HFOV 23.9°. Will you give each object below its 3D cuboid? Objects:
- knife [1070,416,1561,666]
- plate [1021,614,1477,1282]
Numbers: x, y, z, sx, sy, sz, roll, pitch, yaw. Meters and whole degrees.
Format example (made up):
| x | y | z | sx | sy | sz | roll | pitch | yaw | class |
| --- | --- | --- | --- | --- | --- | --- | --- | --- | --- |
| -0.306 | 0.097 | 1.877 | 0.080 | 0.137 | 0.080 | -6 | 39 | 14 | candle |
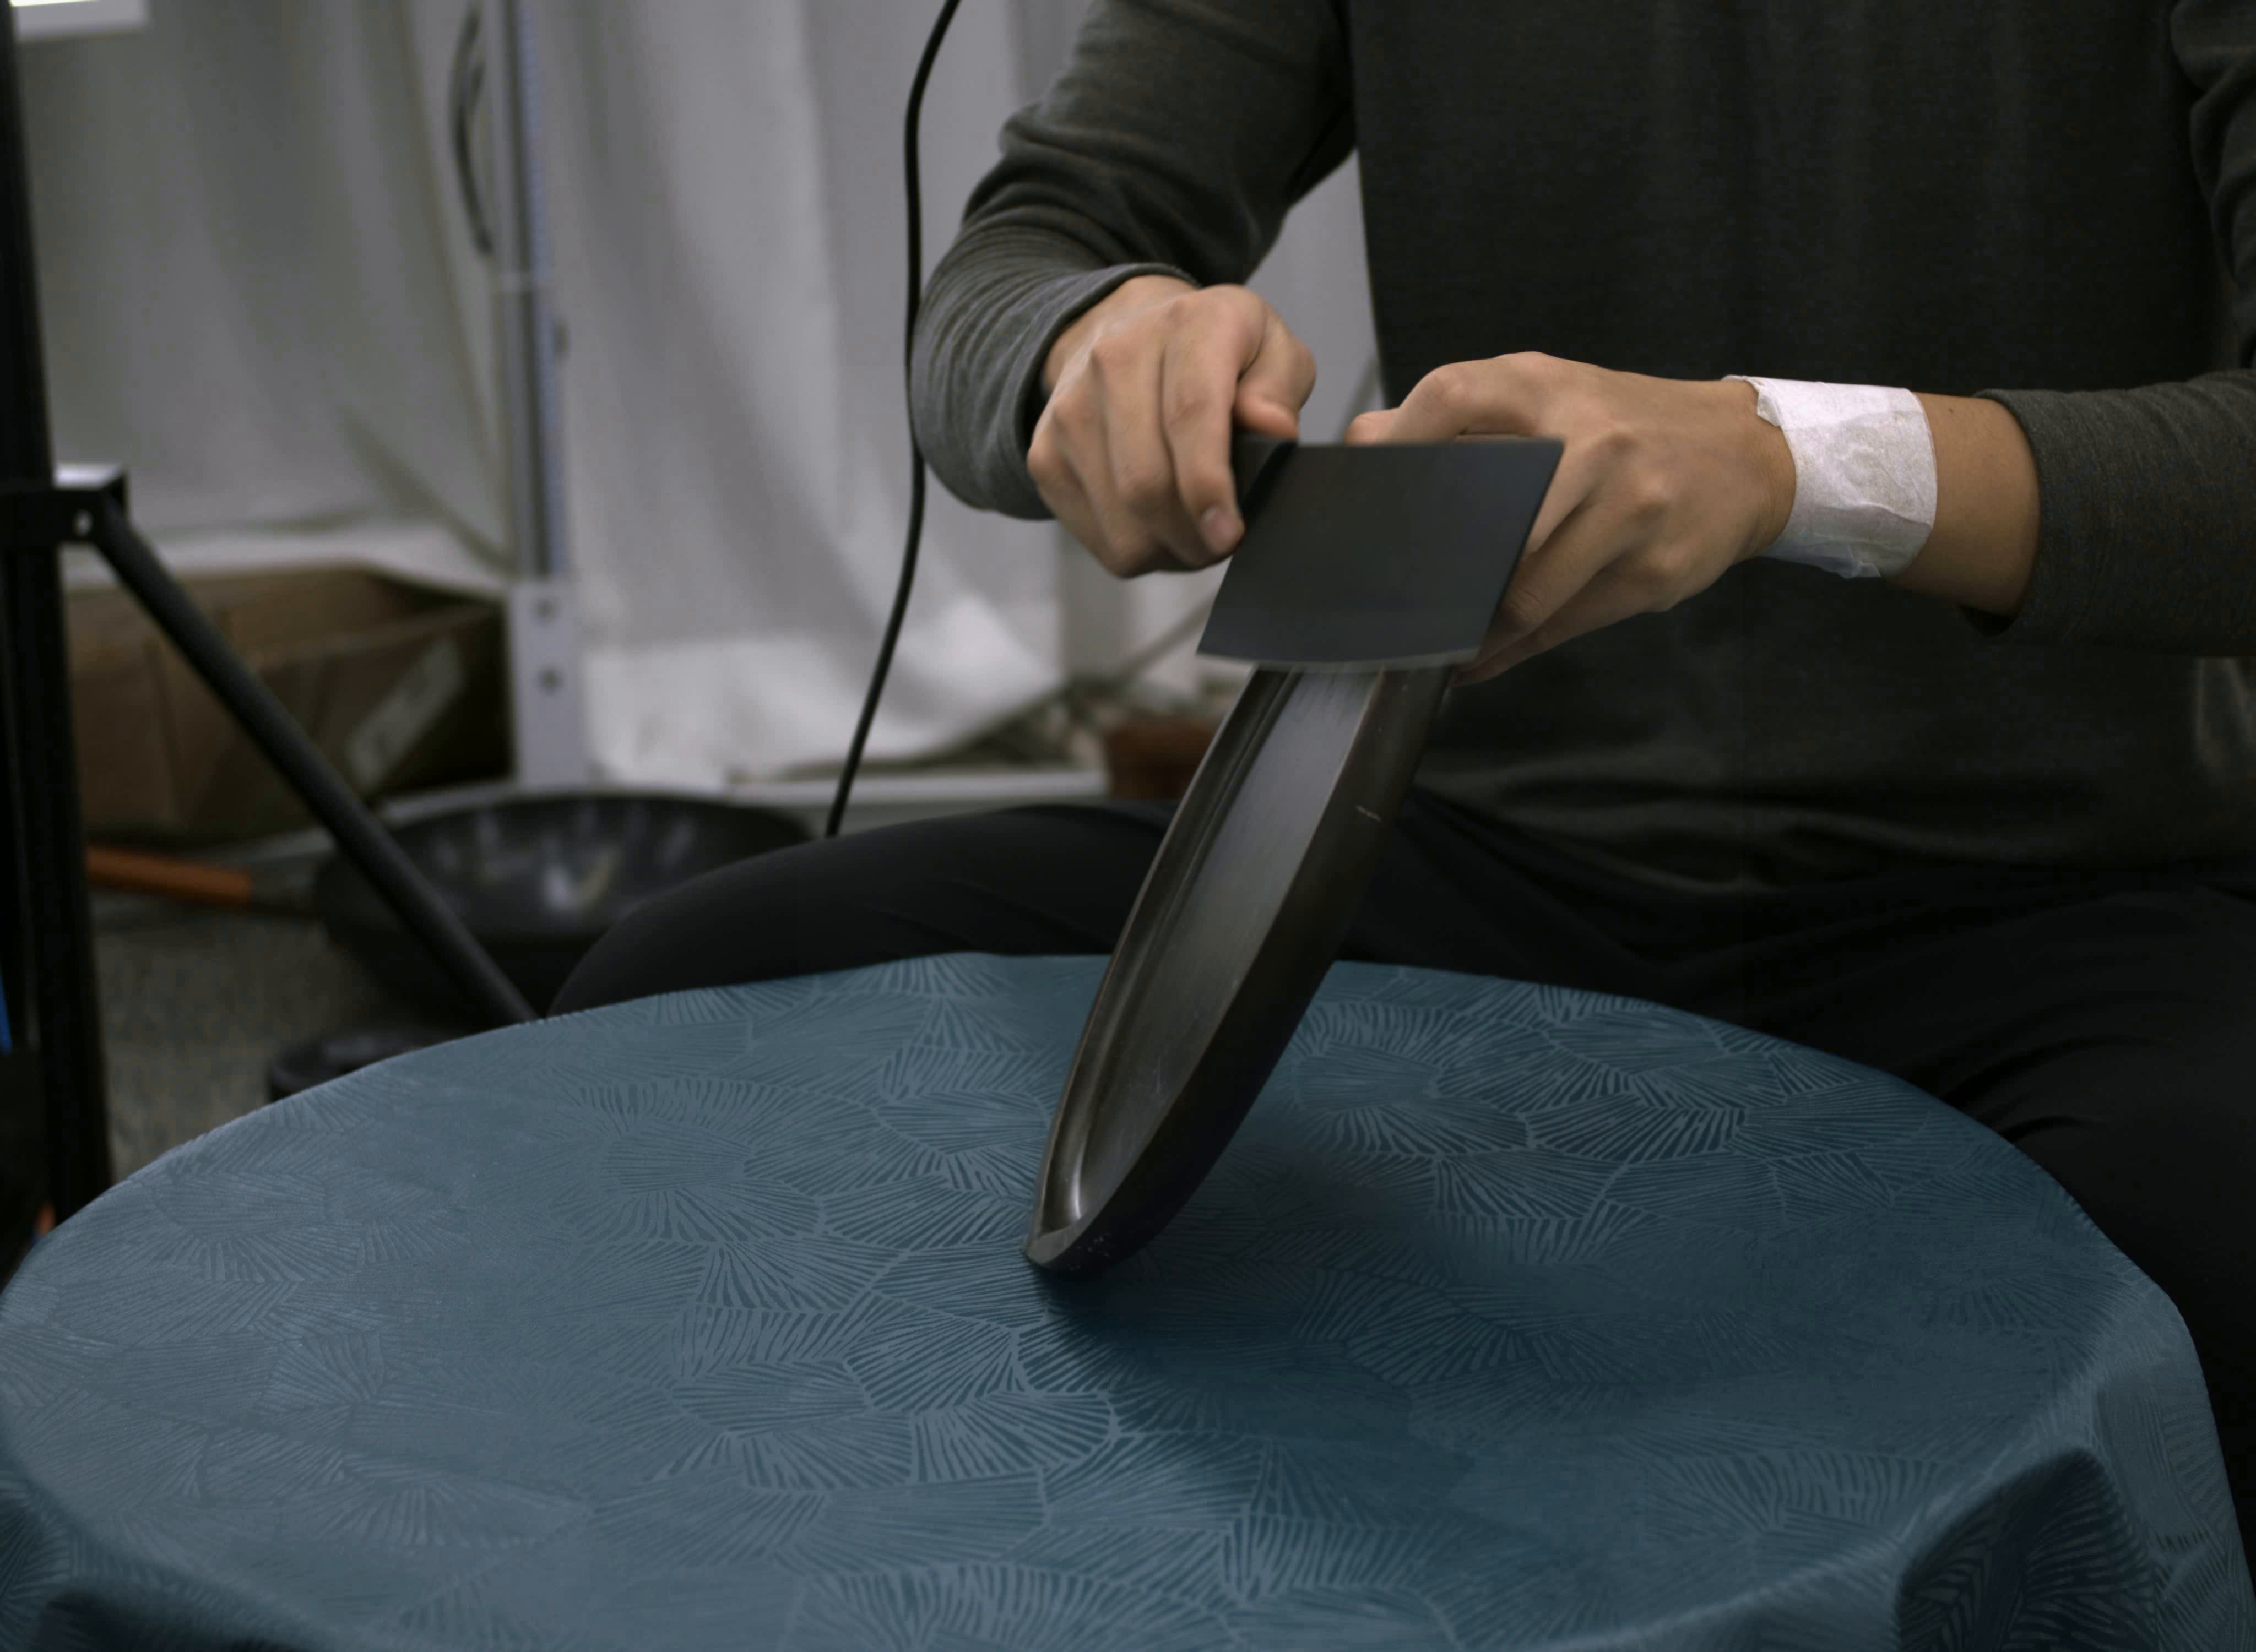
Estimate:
| x | y | z | sx | sy | sz | roll | pitch | yaw | class |
| --- | --- | --- | --- | --- | --- | --- | --- | --- | --- |
| 0.044 | -0.080 | 1.478 | 0.020 | 0.081 | 0.307 | 25 | -2 | -21 | knife |
| 0.035 | 0.014 | 1.495 | 0.029 | 0.256 | 0.256 | 24 | 14 | -8 | plate |
